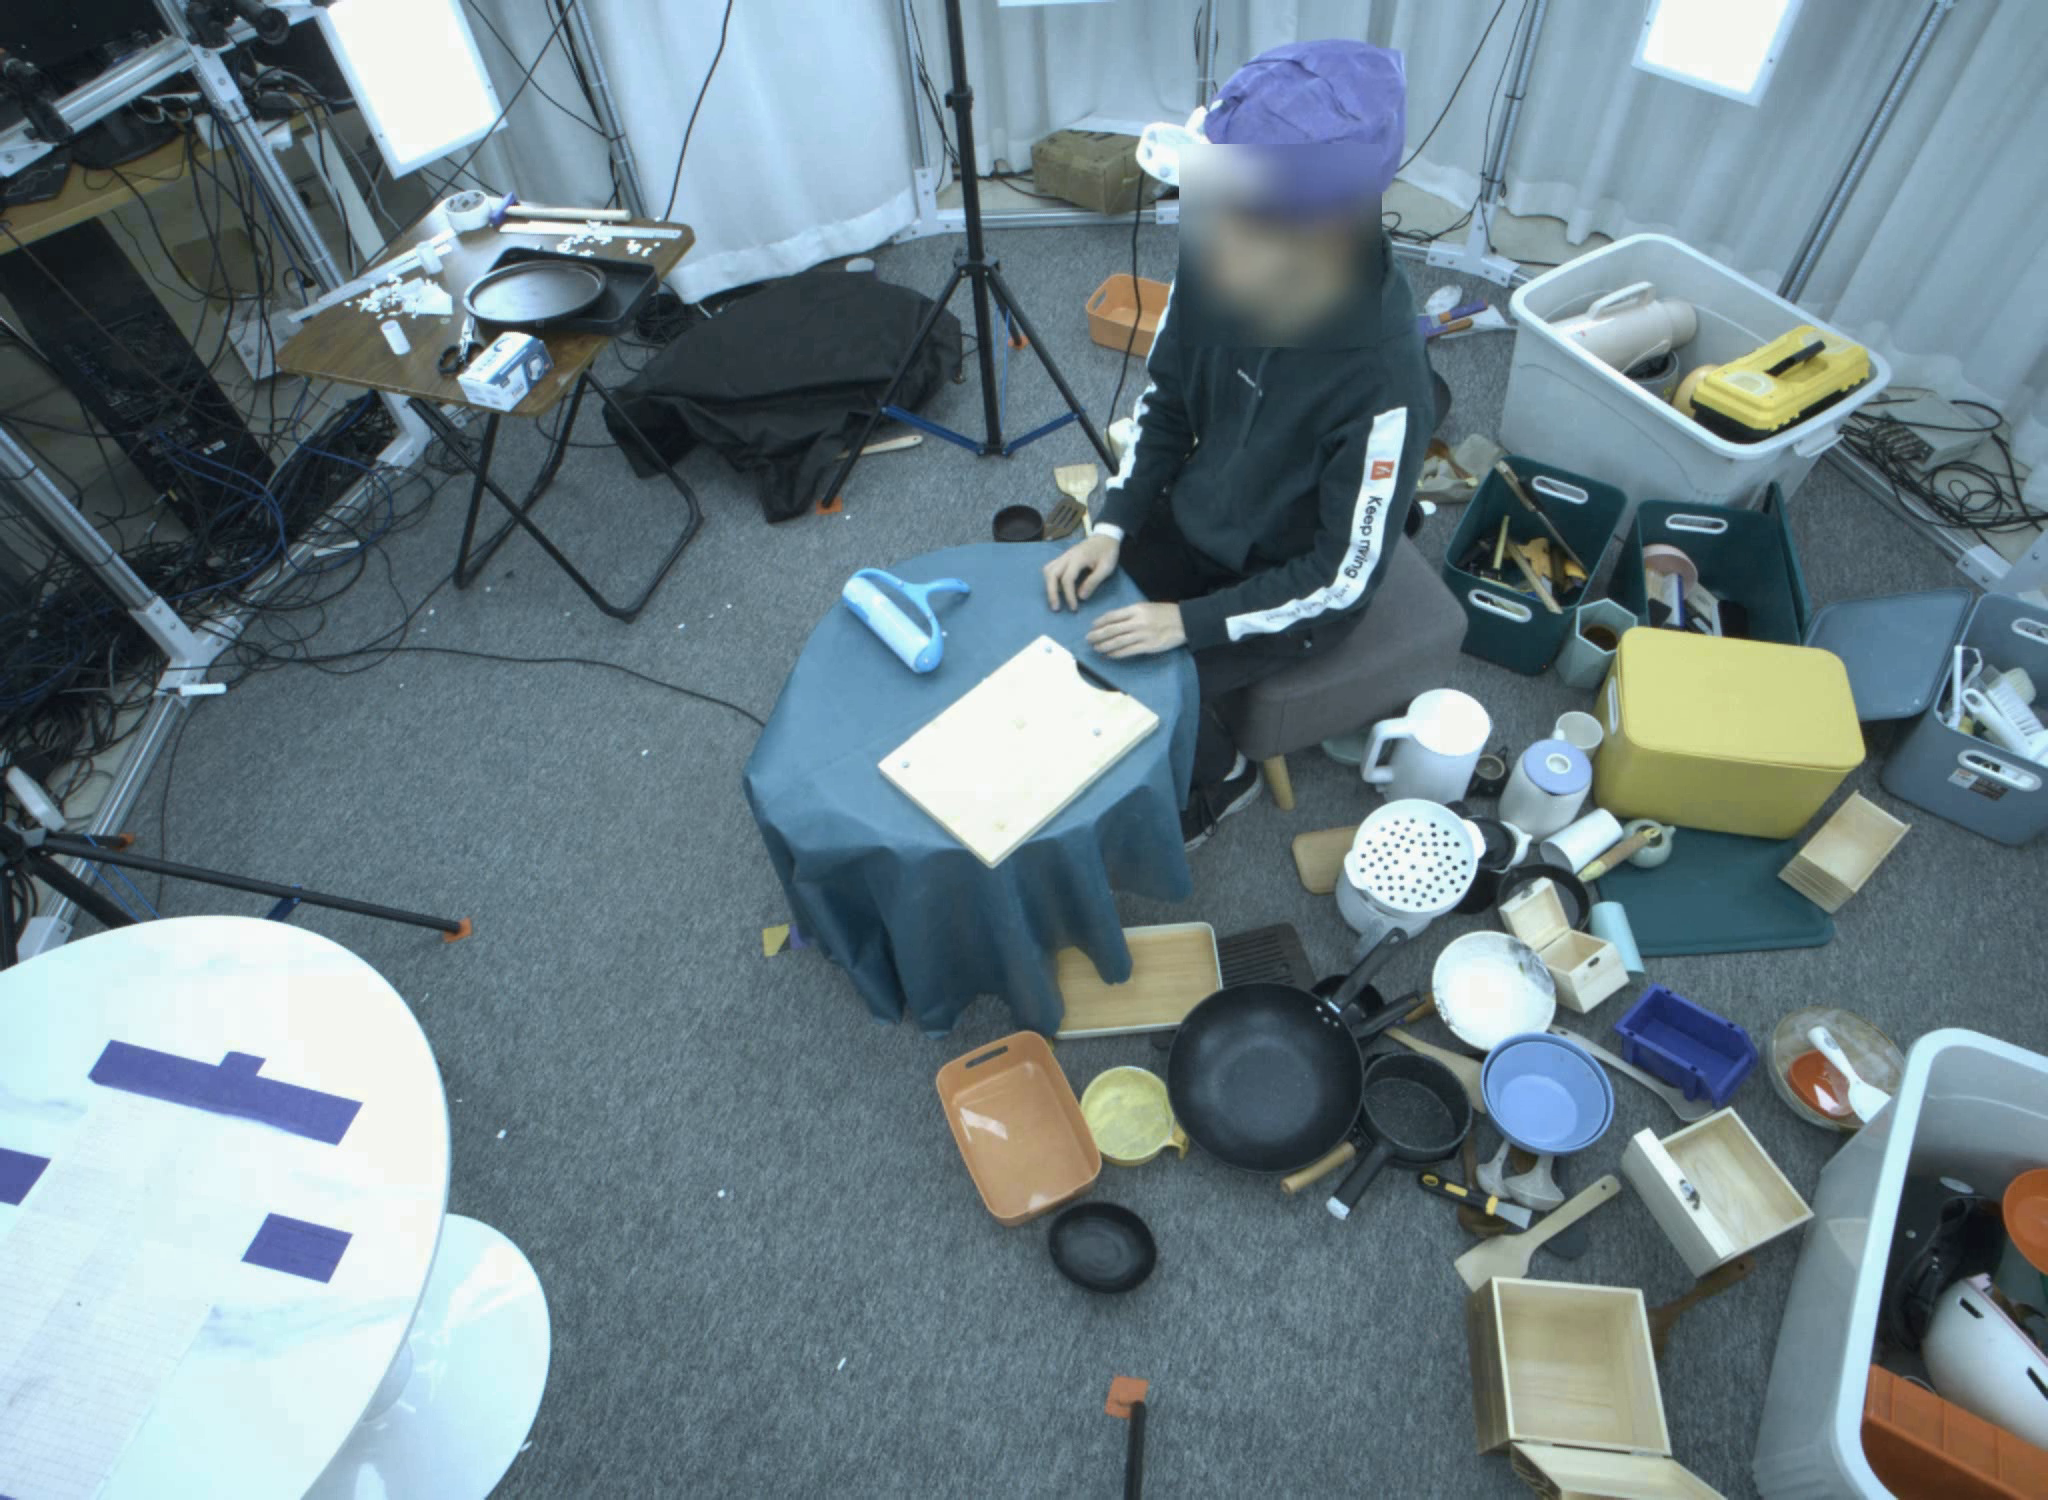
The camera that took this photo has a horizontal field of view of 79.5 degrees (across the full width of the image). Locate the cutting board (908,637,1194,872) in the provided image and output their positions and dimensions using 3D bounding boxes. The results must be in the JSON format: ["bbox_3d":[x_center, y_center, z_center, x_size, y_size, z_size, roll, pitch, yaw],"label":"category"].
[{"bbox_3d":[0.038,-0.004,1.775,0.351,0.024,0.246,-39,62,-23],"label":"cutting board"}]

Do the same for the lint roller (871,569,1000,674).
[{"bbox_3d":[-0.117,-0.227,1.913,0.181,0.069,0.224,-36,59,-20],"label":"lint roller"}]
